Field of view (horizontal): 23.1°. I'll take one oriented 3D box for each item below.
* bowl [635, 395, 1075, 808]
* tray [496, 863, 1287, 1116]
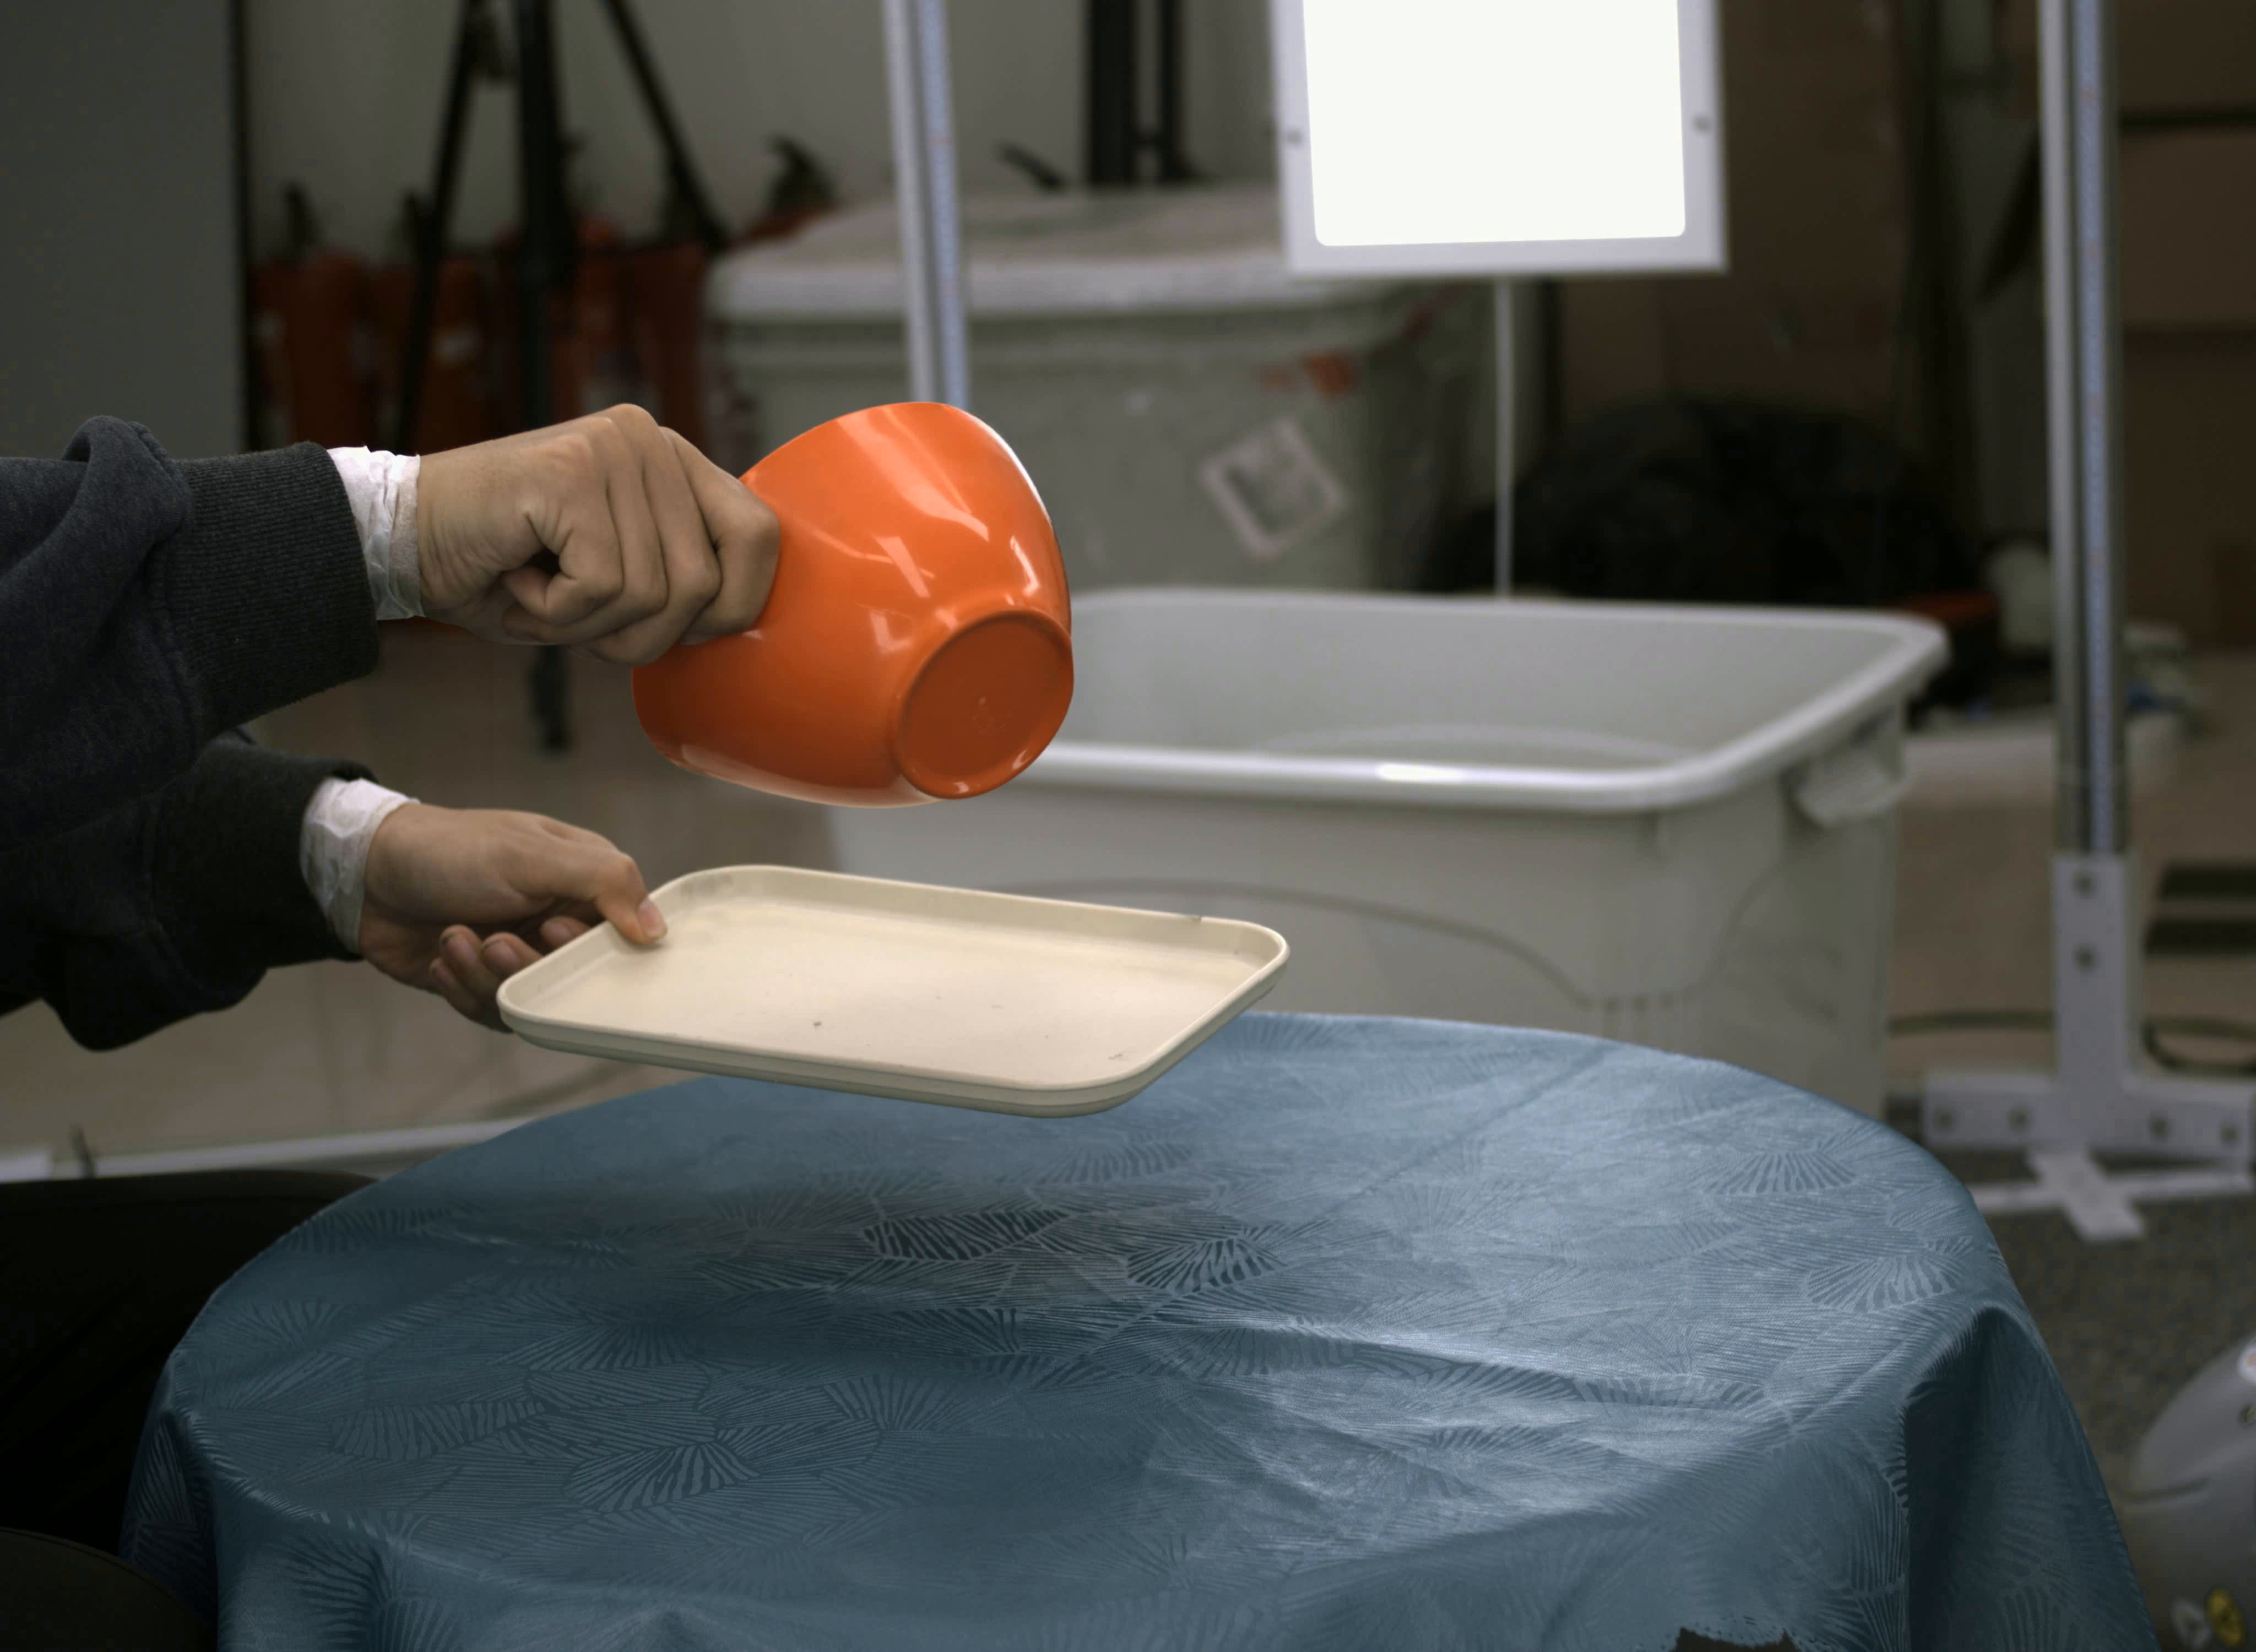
[{"bbox_3d":[-0.070,-0.054,1.709,0.144,0.149,0.106,-12,36,-31],"label":"bowl"},{"bbox_3d":[-0.078,0.054,1.852,0.243,0.017,0.167,6,20,26],"label":"tray"}]
